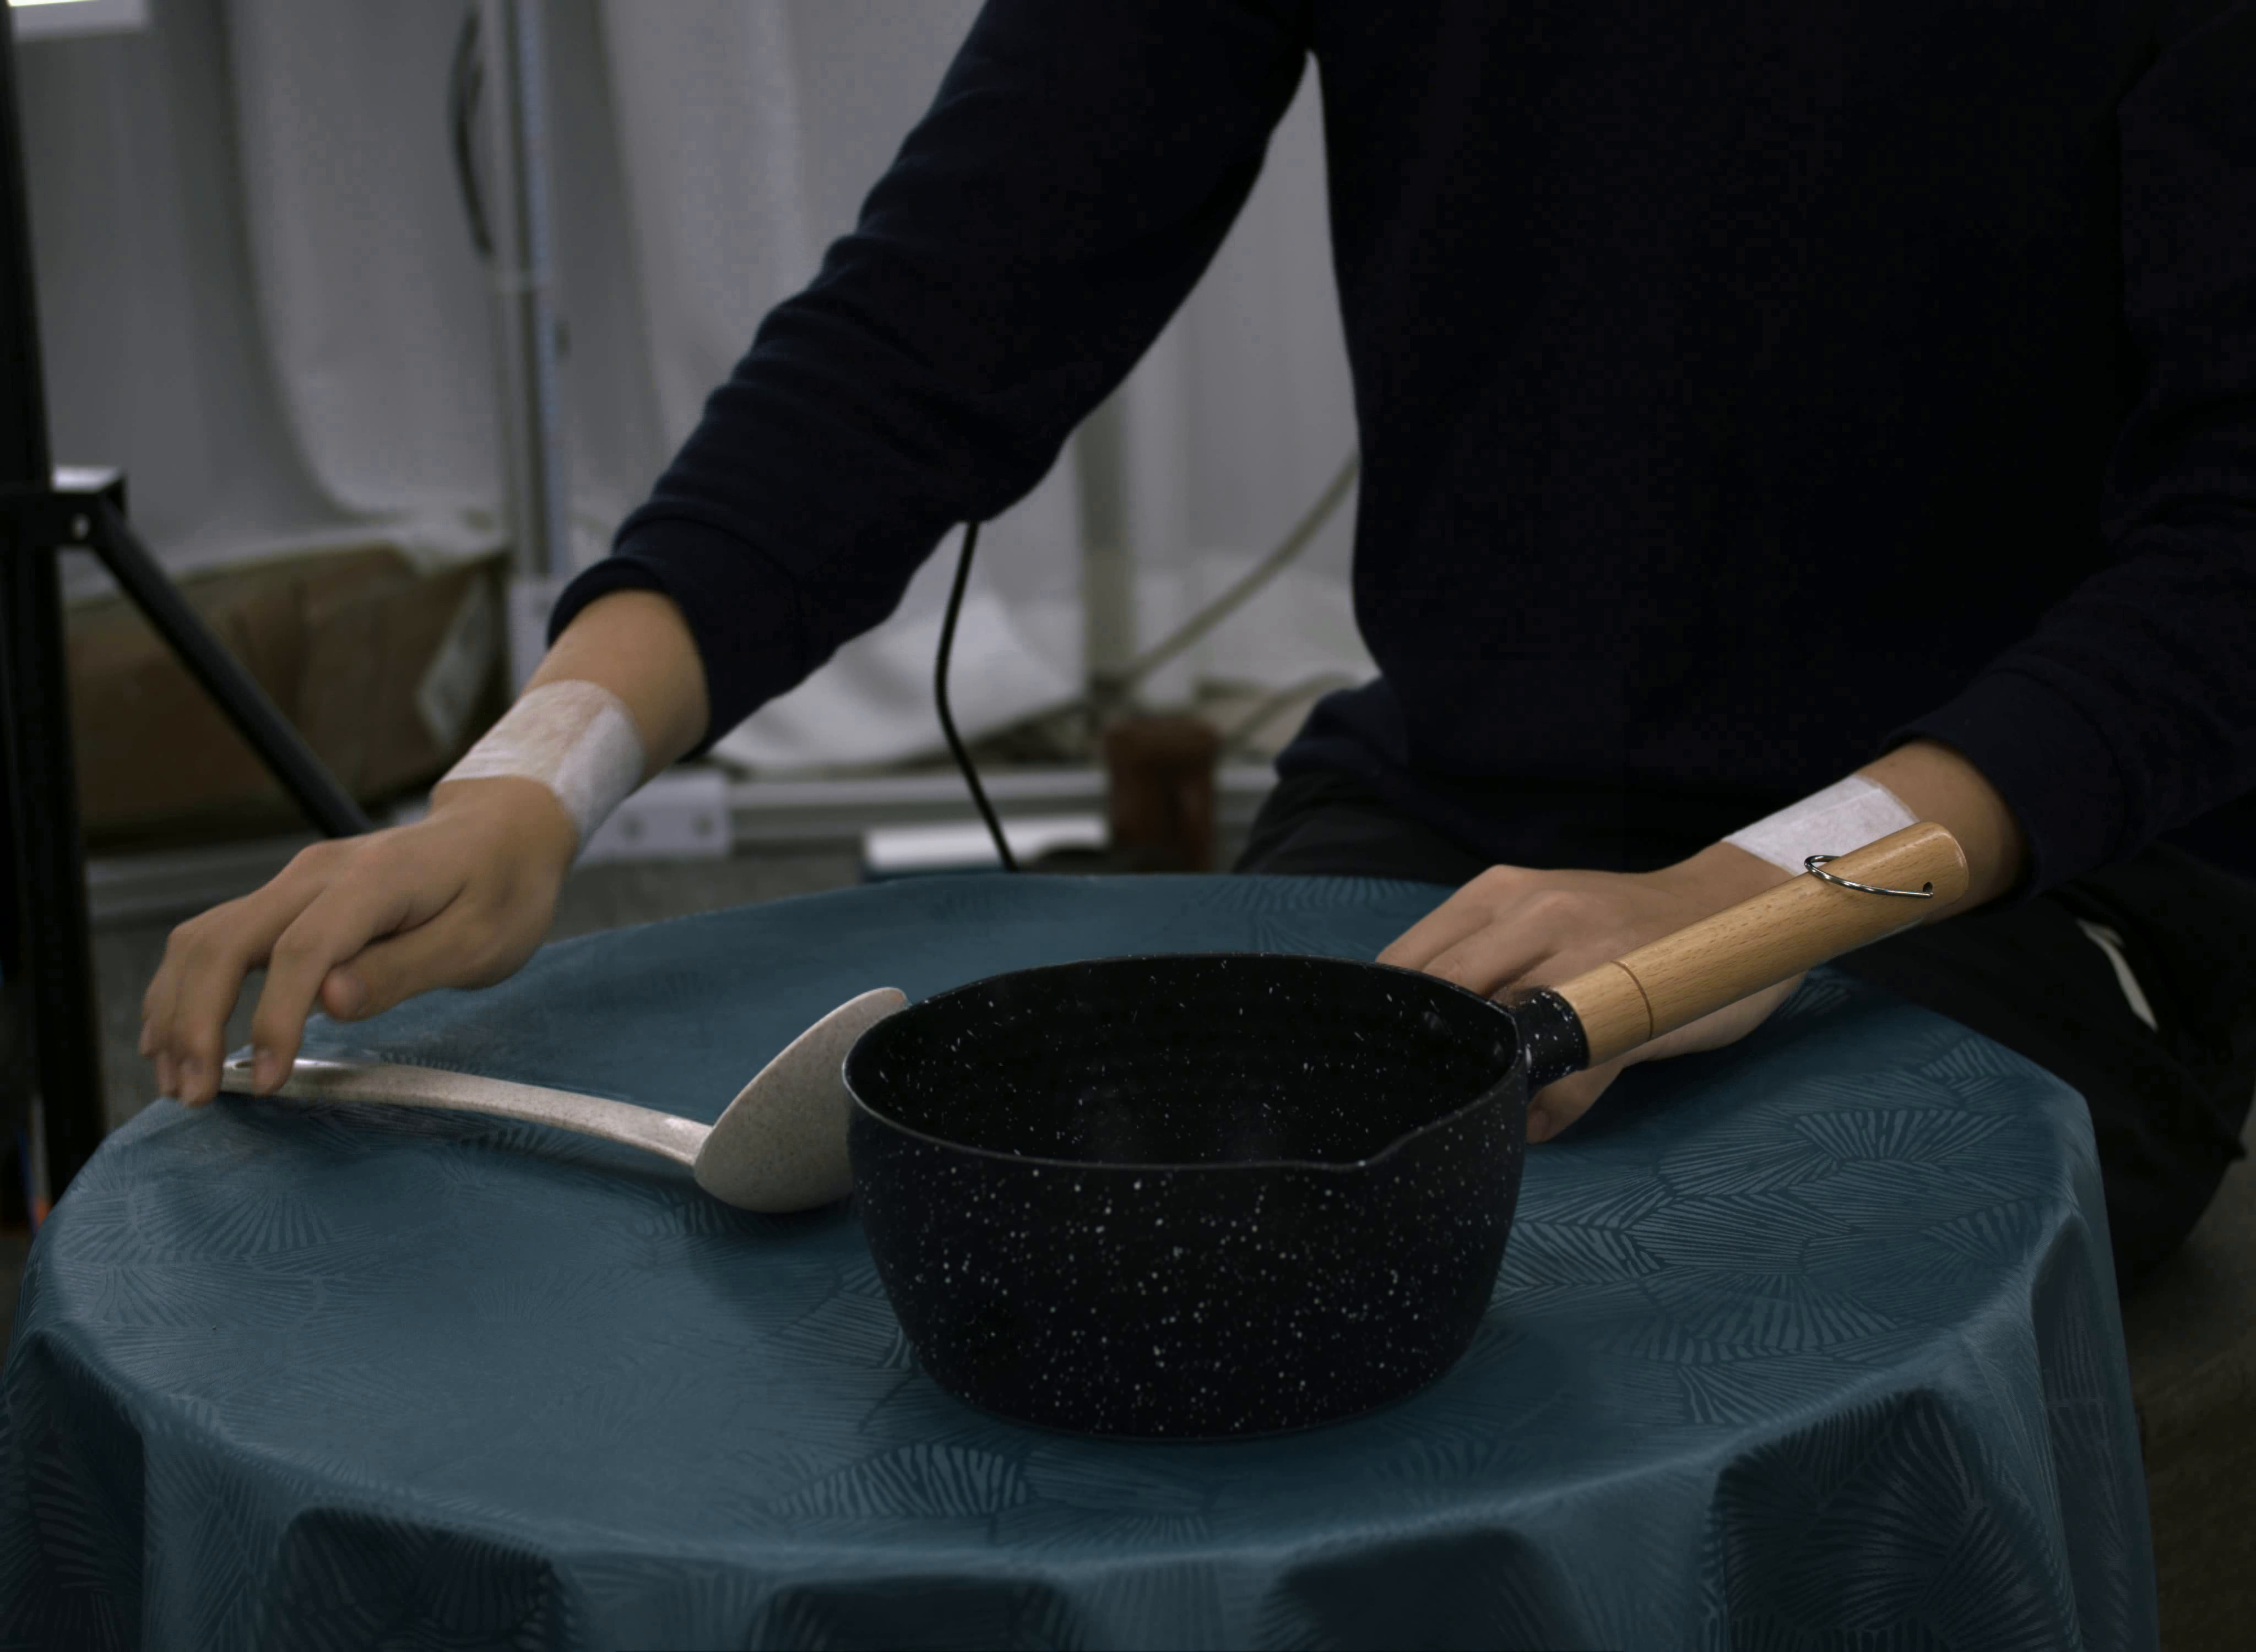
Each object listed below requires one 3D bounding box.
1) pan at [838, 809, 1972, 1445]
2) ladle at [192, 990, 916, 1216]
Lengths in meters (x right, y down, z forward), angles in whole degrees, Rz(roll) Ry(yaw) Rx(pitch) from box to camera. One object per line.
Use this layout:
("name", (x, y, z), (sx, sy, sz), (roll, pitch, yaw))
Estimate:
("pan", (0.086, 0.076, 1.456), (0.336, 0.108, 0.212), (-12, 17, -24))
("ladle", (-0.184, 0.065, 1.613), (0.280, 0.069, 0.088), (9, 25, 35))
